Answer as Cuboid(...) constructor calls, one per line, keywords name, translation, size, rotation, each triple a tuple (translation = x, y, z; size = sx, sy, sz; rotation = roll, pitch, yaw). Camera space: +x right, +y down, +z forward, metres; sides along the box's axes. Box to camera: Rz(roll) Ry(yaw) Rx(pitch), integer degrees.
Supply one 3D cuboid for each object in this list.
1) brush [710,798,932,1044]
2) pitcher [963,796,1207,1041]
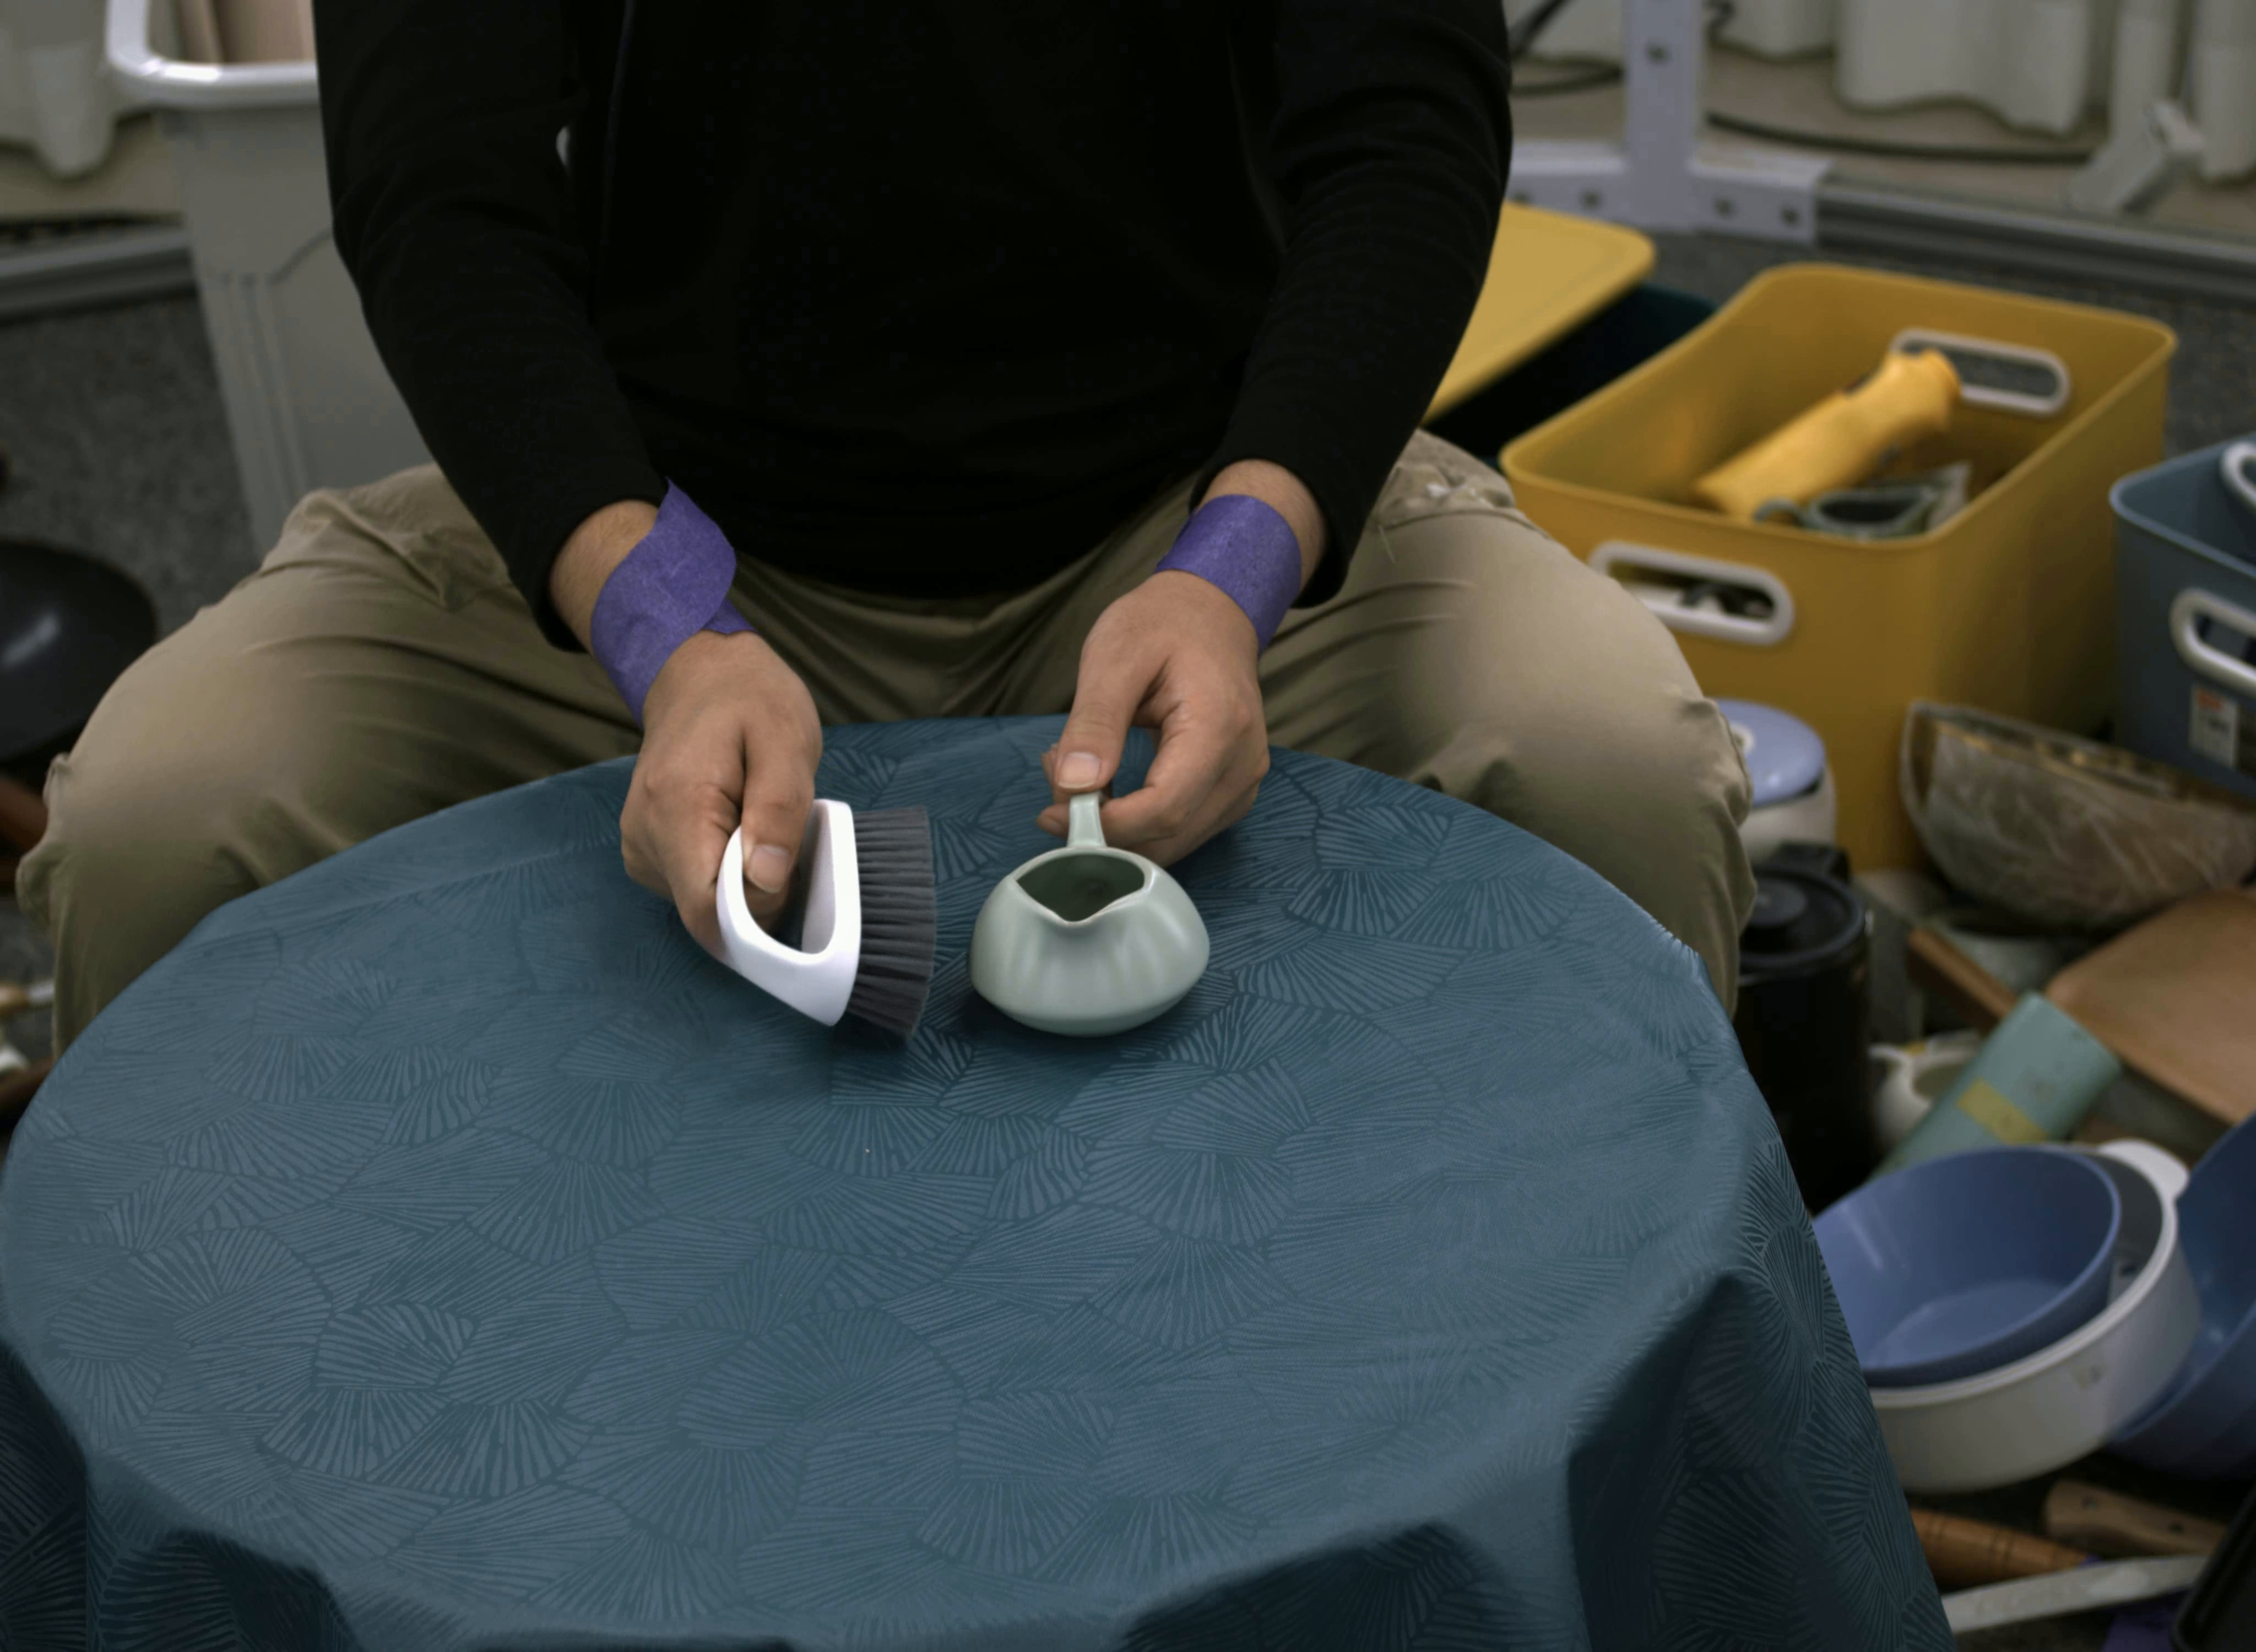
Cuboid(name="brush", translation=(-0.110, 0.030, 1.967), size=(0.072, 0.049, 0.101), rotation=(10, 38, -14))
Cuboid(name="pitcher", translation=(-0.016, 0.034, 1.974), size=(0.085, 0.060, 0.109), rotation=(-2, 24, 1))
